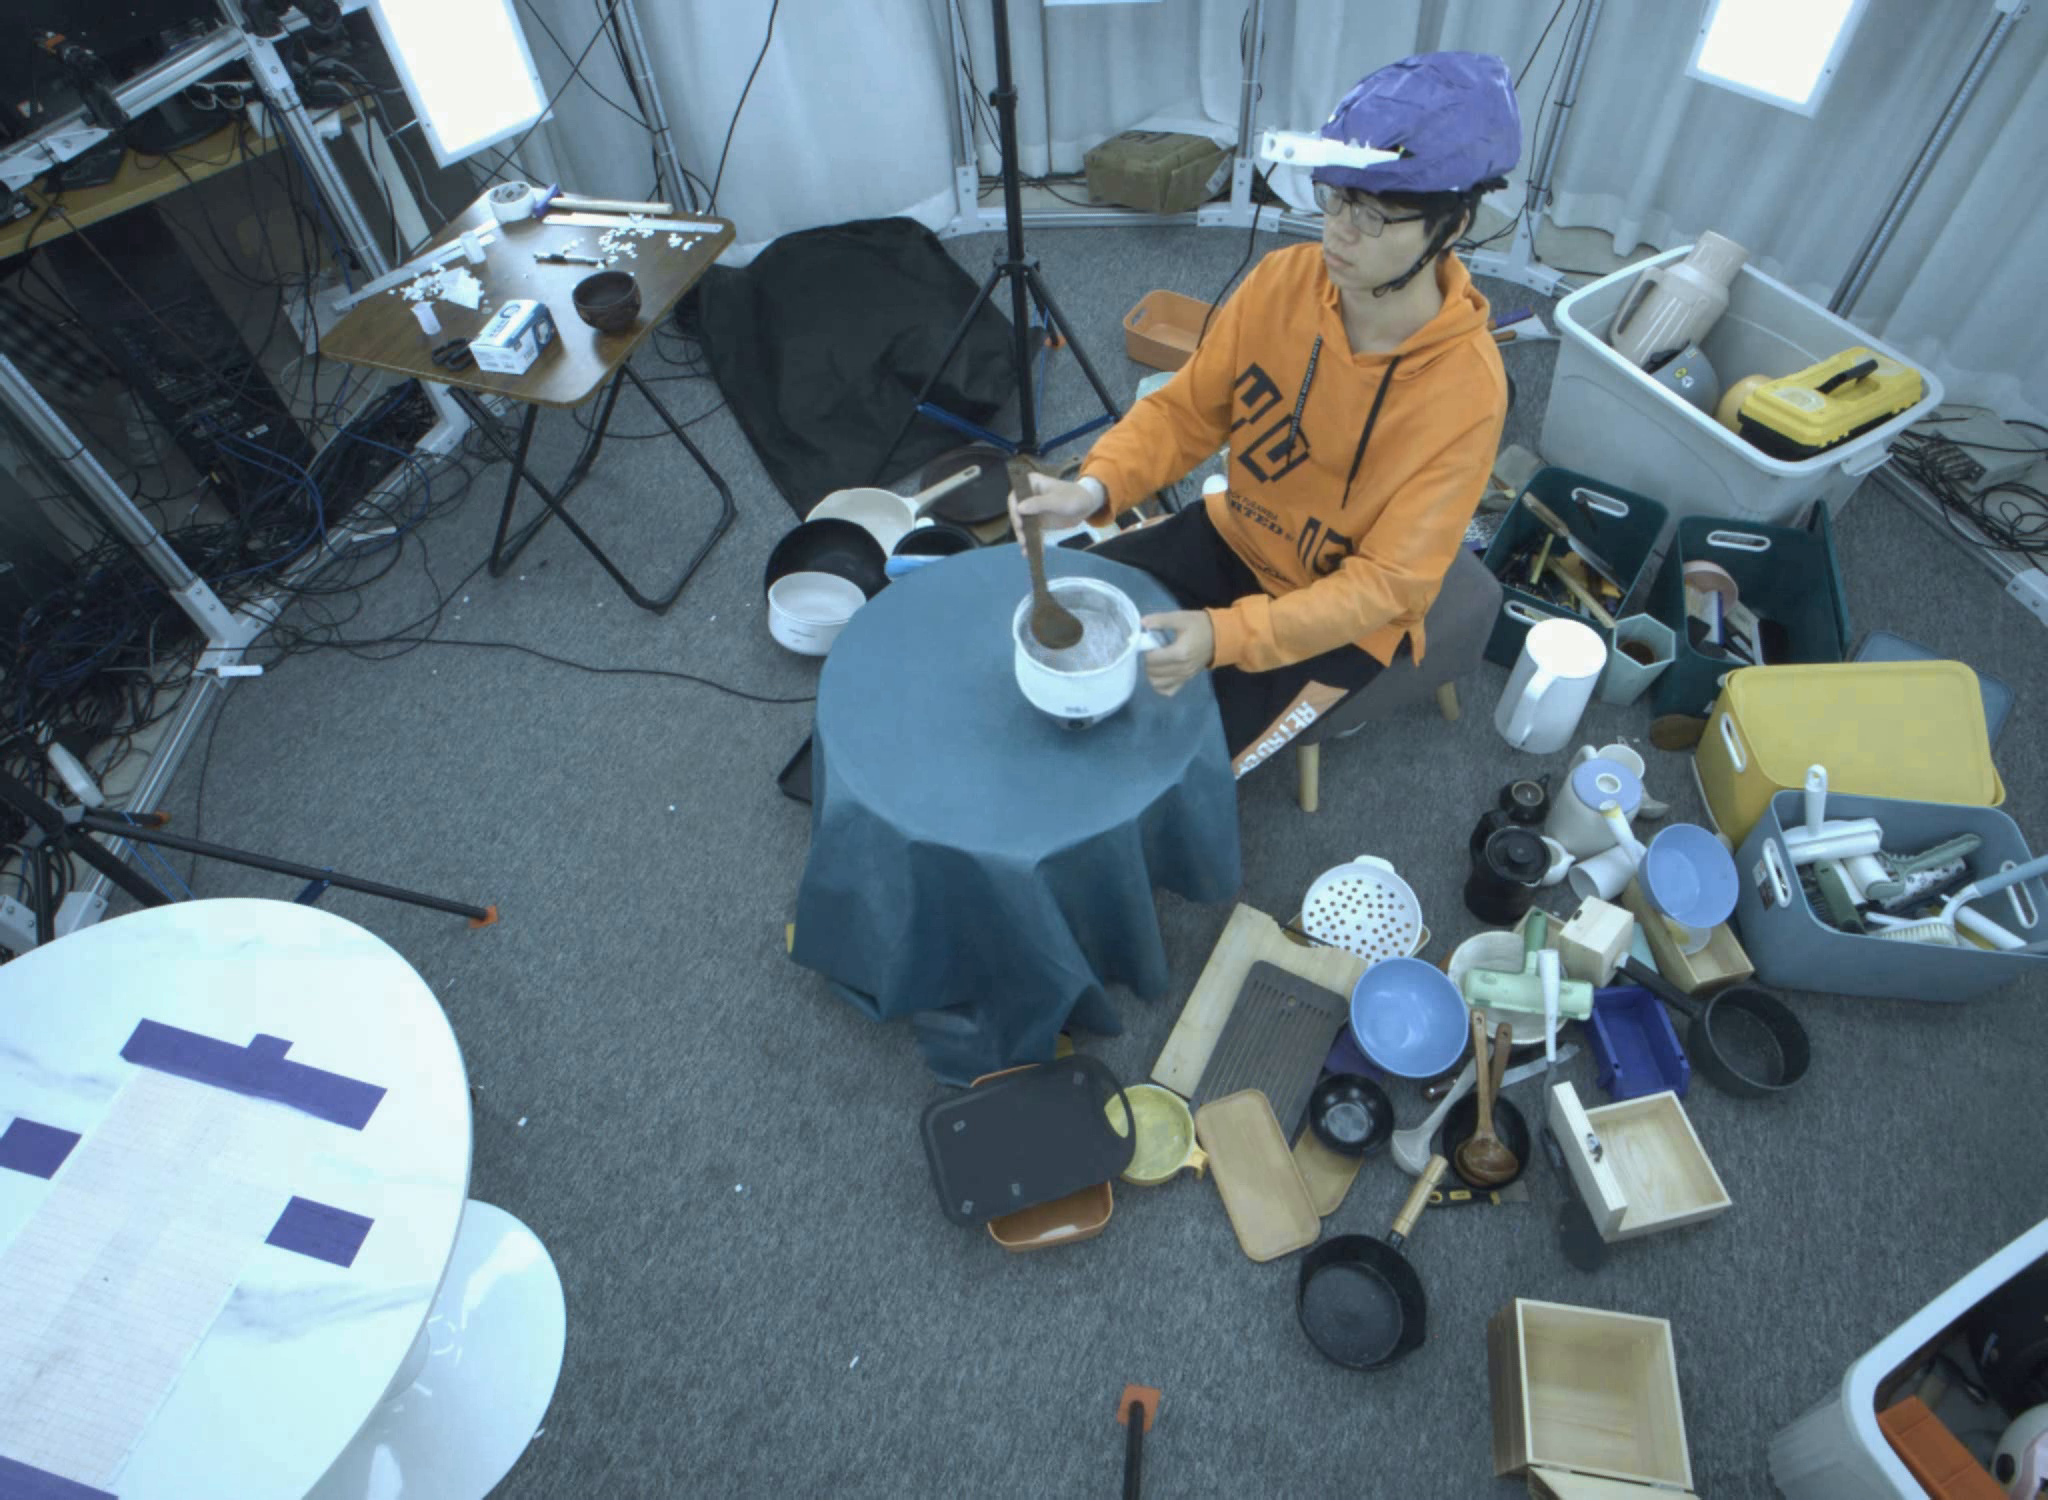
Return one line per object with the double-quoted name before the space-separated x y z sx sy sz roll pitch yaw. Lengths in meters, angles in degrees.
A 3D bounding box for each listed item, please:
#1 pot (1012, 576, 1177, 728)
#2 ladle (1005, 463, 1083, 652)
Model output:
"pot" 0.101 -0.138 1.746 0.234 0.138 0.177 -1 59 0
"ladle" 0.023 -0.270 1.690 0.077 0.070 0.275 -14 96 -28
